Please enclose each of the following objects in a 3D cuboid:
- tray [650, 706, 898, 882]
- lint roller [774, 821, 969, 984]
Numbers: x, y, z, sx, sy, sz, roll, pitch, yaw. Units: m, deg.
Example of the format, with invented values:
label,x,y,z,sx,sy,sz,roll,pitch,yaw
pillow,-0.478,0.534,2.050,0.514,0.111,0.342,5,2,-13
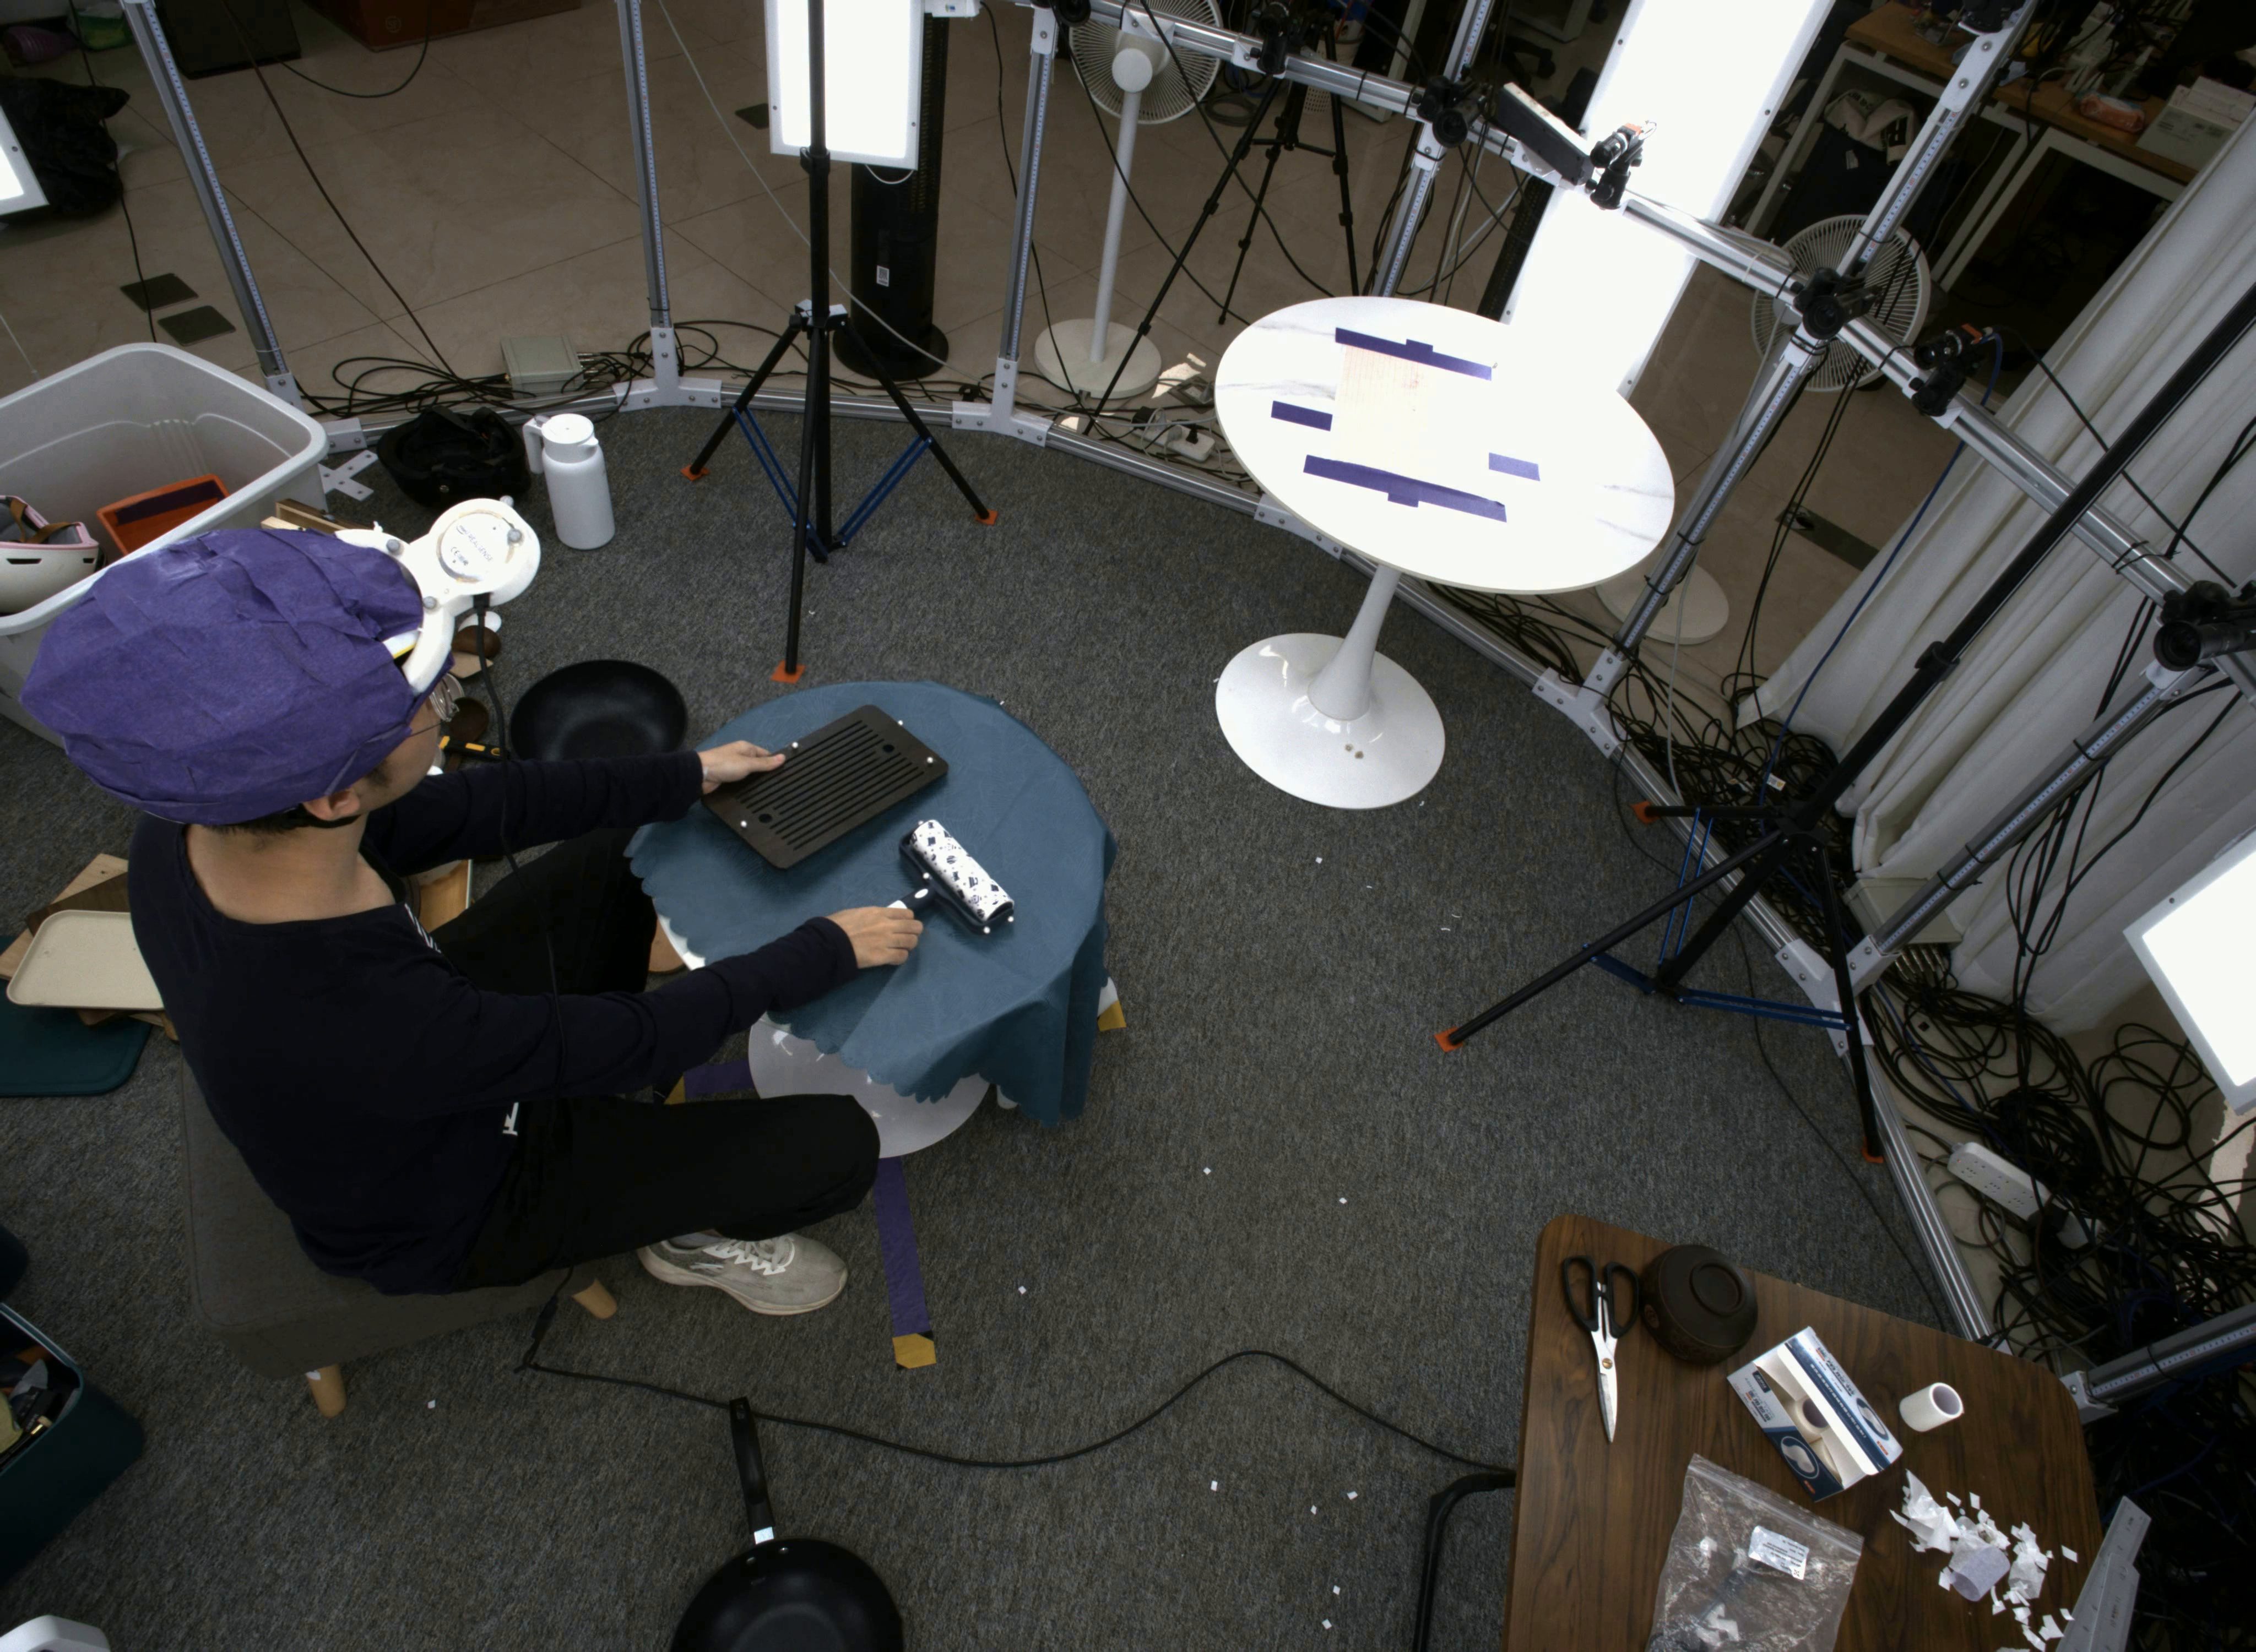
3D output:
label,x,y,z,sx,sy,sz,roll,pitch,yaw
tray,-0.467,-0.048,1.728,0.166,0.019,0.306,38,48,15
lint roller,-0.345,0.114,1.646,0.172,0.051,0.247,42,58,16
